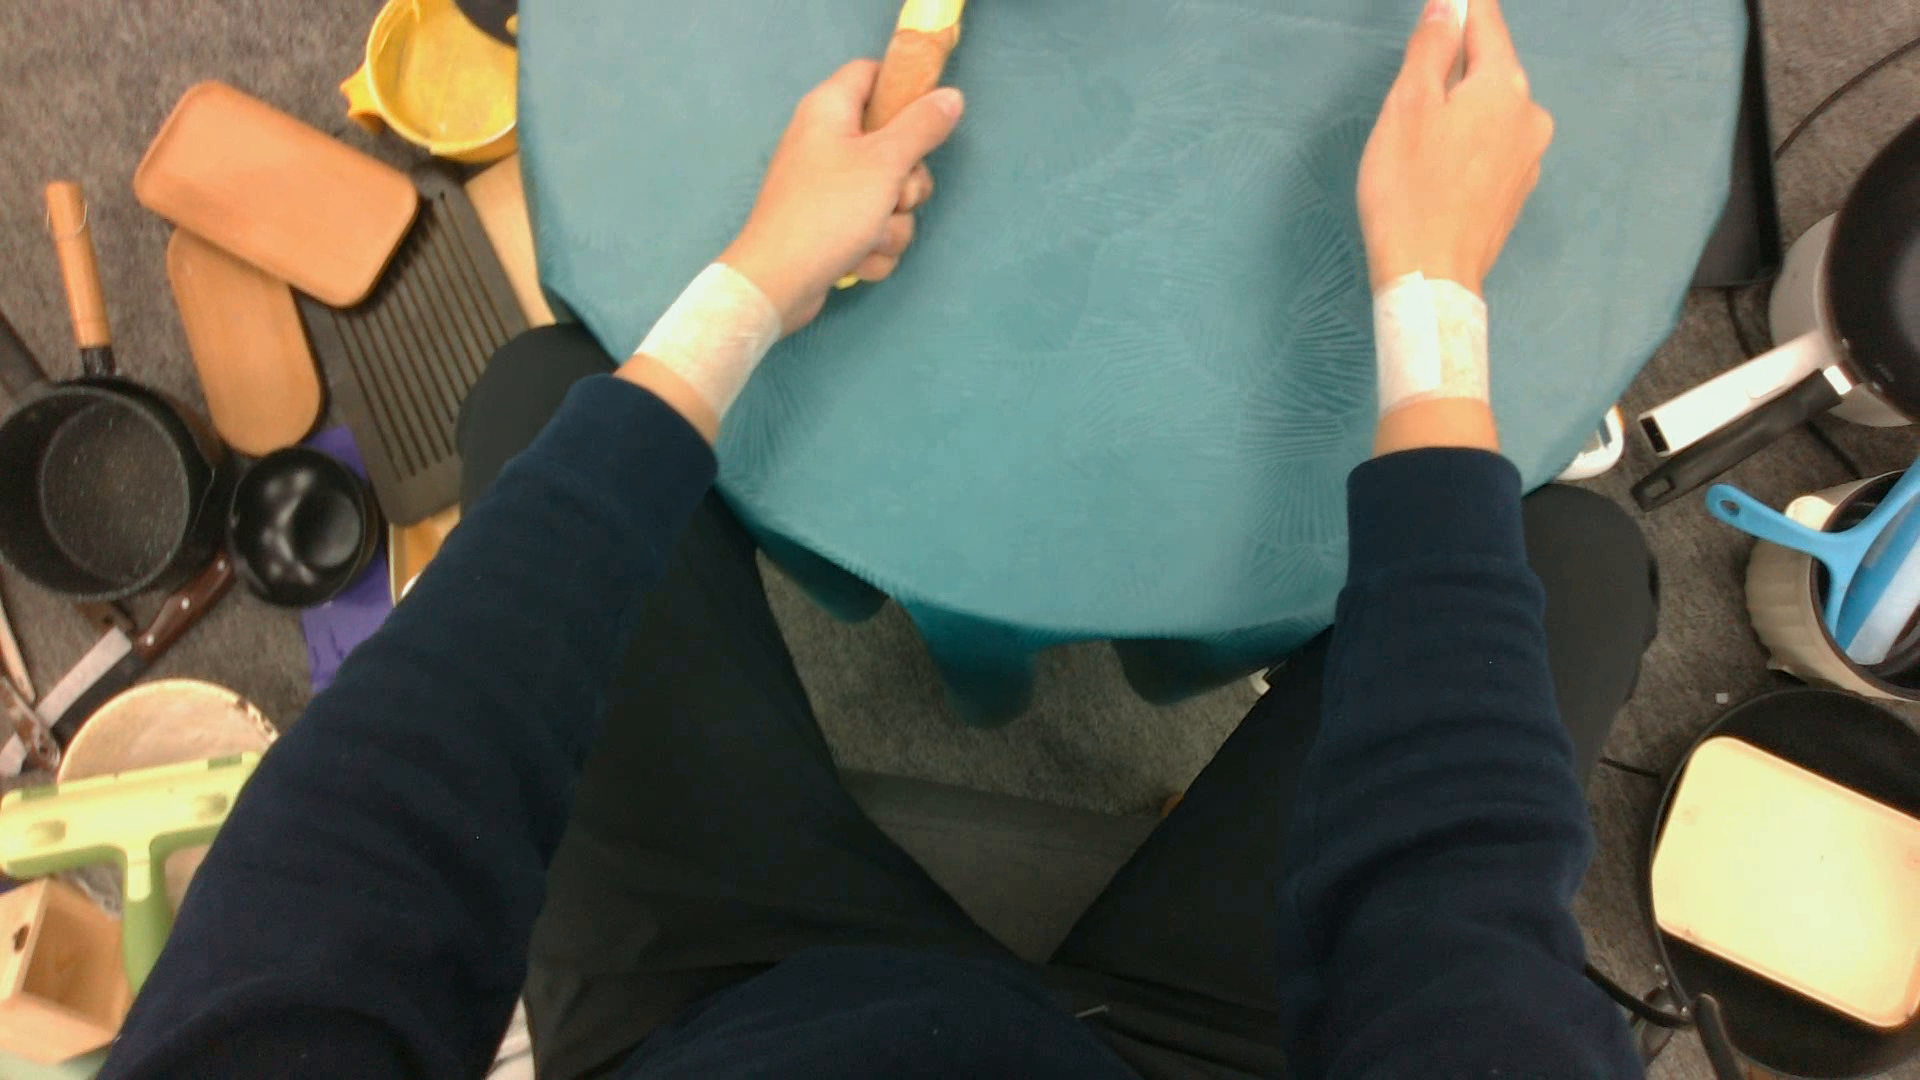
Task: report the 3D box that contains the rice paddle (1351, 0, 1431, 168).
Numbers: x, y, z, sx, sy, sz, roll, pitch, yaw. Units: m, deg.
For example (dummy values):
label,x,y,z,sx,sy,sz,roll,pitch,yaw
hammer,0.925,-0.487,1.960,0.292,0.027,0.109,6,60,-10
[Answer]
label,x,y,z,sx,sy,sz,roll,pitch,yaw
rice paddle,0.213,-0.274,0.638,0.029,0.068,0.205,11,82,5

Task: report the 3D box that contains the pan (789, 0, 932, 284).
label,x,y,z,sx,sy,sz,roll,pitch,yaw
pan,-0.022,-0.273,0.653,0.169,0.049,0.324,19,86,-1
